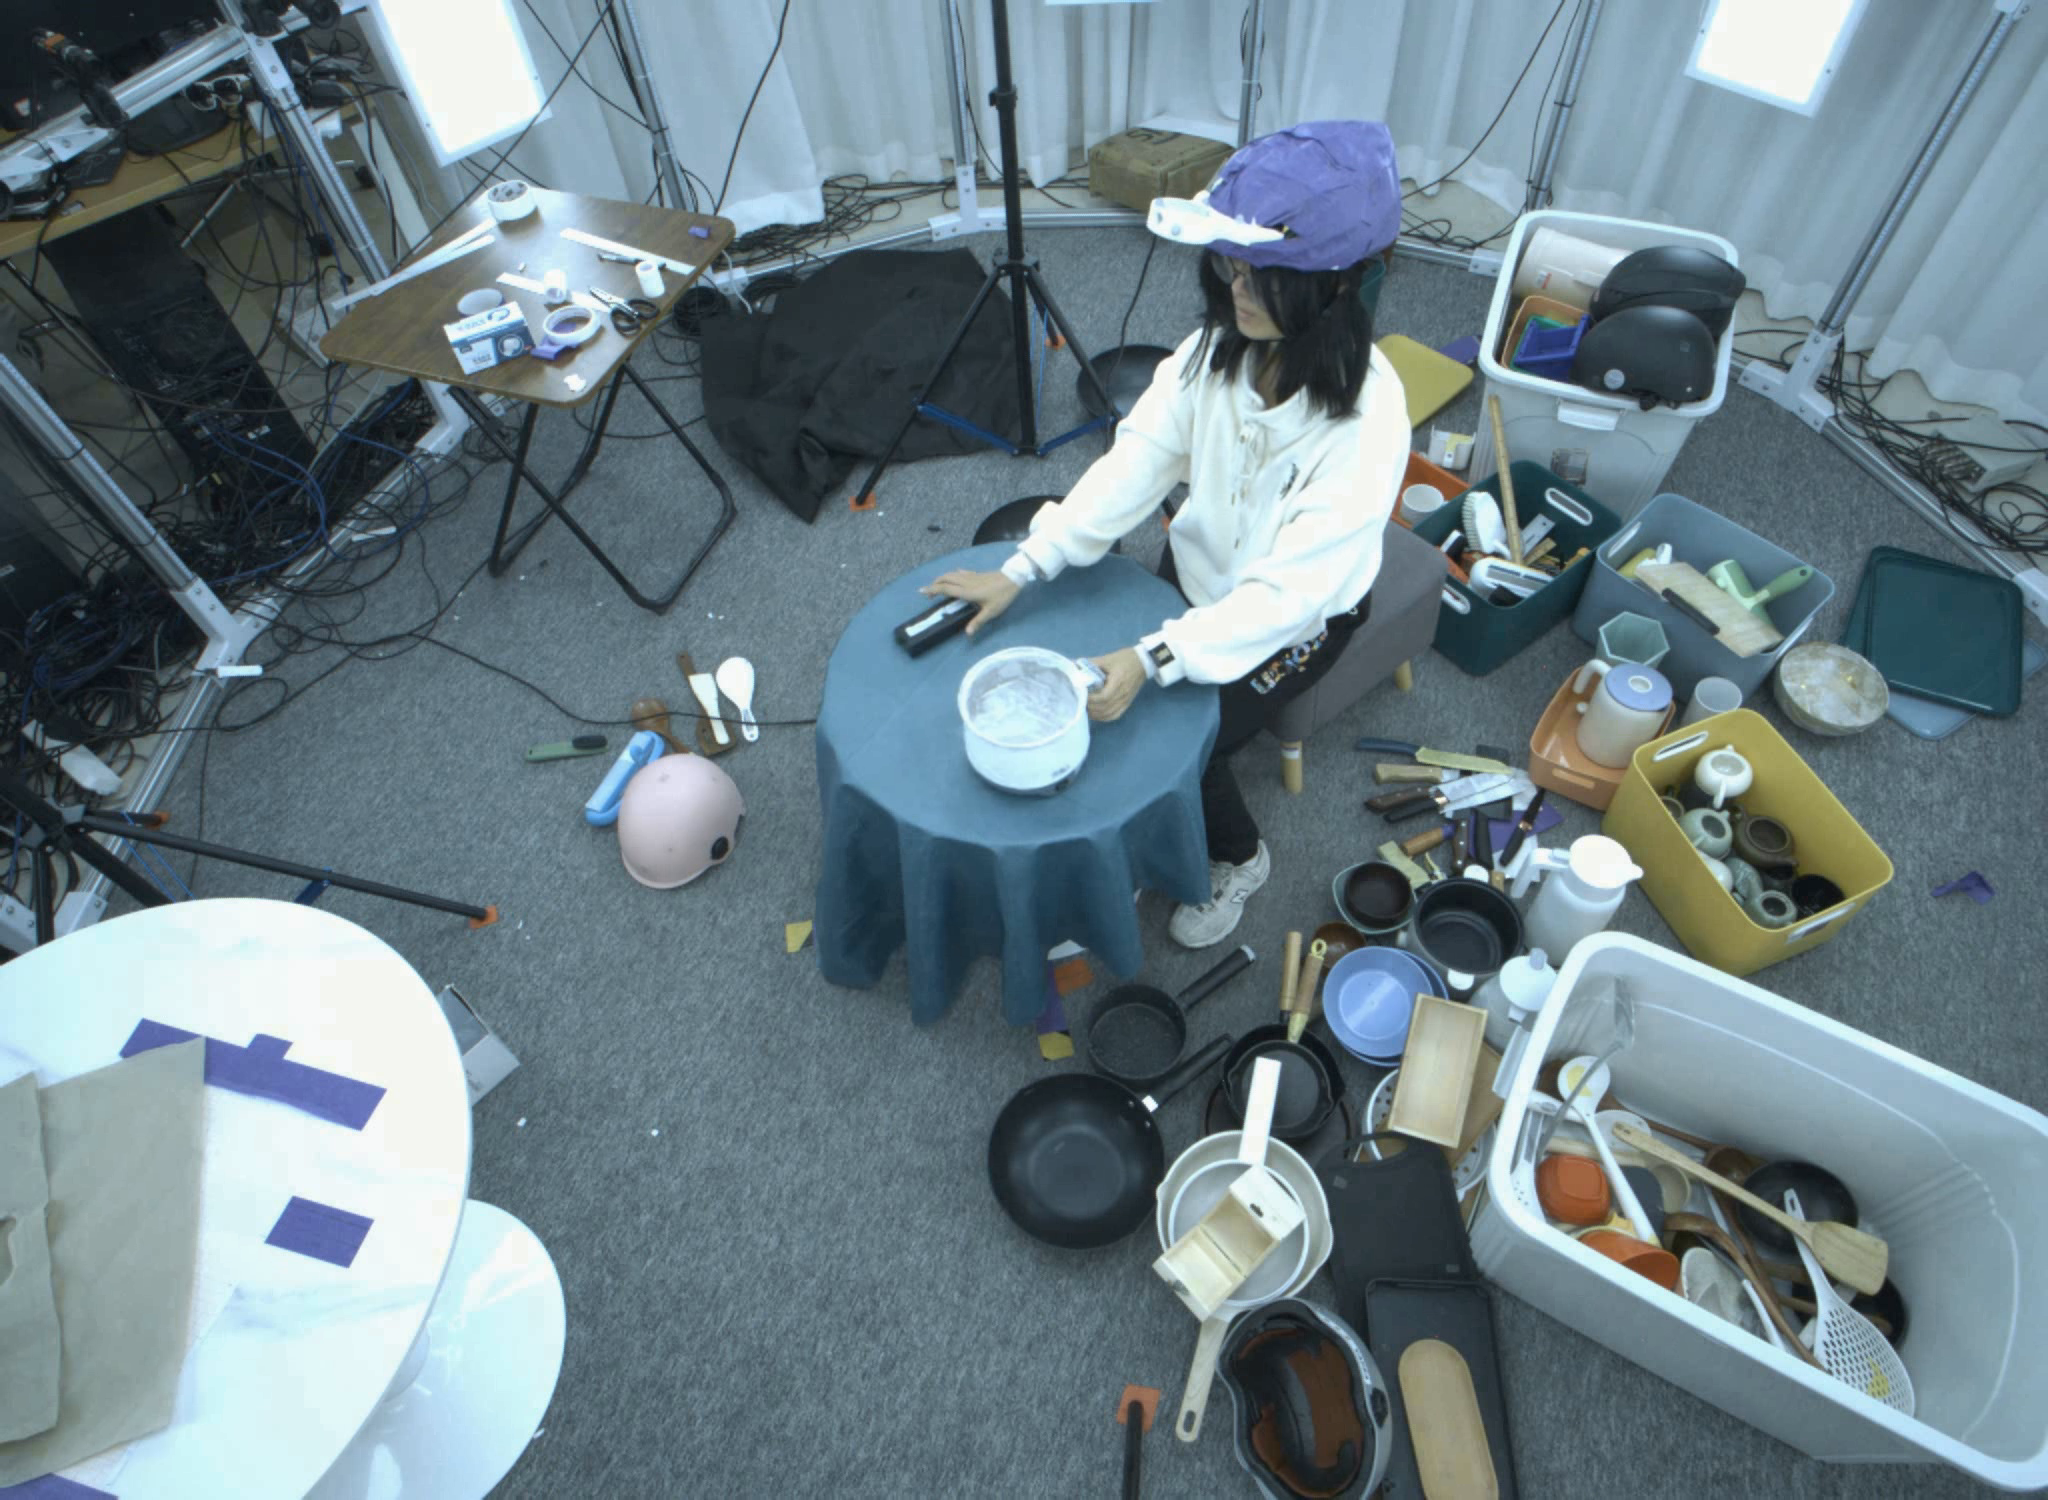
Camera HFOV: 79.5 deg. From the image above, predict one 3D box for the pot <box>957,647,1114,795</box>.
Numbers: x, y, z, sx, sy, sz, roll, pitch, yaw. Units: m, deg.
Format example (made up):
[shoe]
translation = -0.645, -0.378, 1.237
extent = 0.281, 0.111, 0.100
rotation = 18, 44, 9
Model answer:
[pot]
translation = 0.024, -0.051, 1.737
extent = 0.235, 0.138, 0.175
rotation = -32, 59, -18

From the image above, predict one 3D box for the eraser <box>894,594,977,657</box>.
[eraser]
translation = -0.138, -0.194, 1.913
extent = 0.126, 0.031, 0.052
rotation = -31, 60, -20
